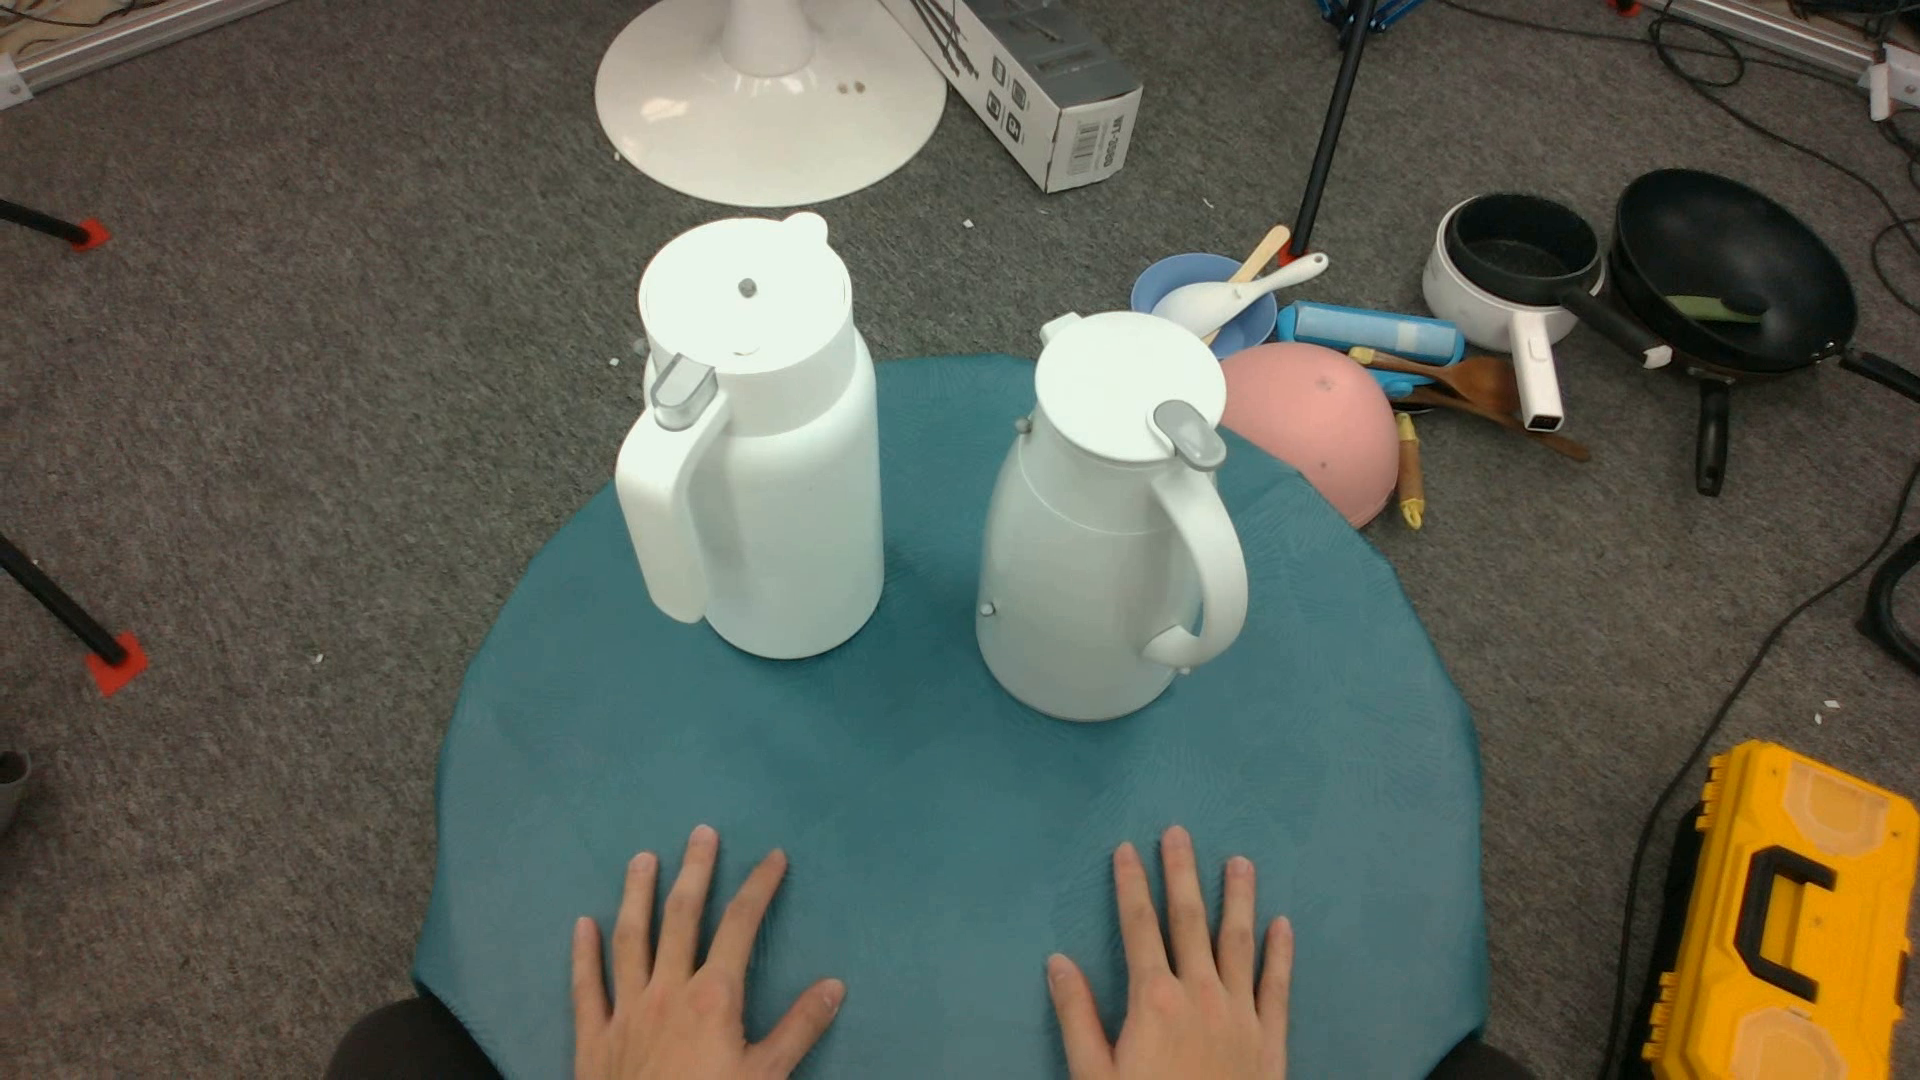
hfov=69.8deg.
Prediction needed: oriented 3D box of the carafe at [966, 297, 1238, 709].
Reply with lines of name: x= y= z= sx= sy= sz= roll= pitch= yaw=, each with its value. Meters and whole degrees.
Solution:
carafe: x=0.084 y=-0.006 z=0.742 sx=0.133 sy=0.247 sz=0.168 roll=-27 pitch=63 yaw=-18

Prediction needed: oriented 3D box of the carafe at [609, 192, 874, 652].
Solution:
carafe: x=-0.114 y=-0.036 z=0.742 sx=0.124 sy=0.267 sz=0.173 roll=22 pitch=59 yaw=9
